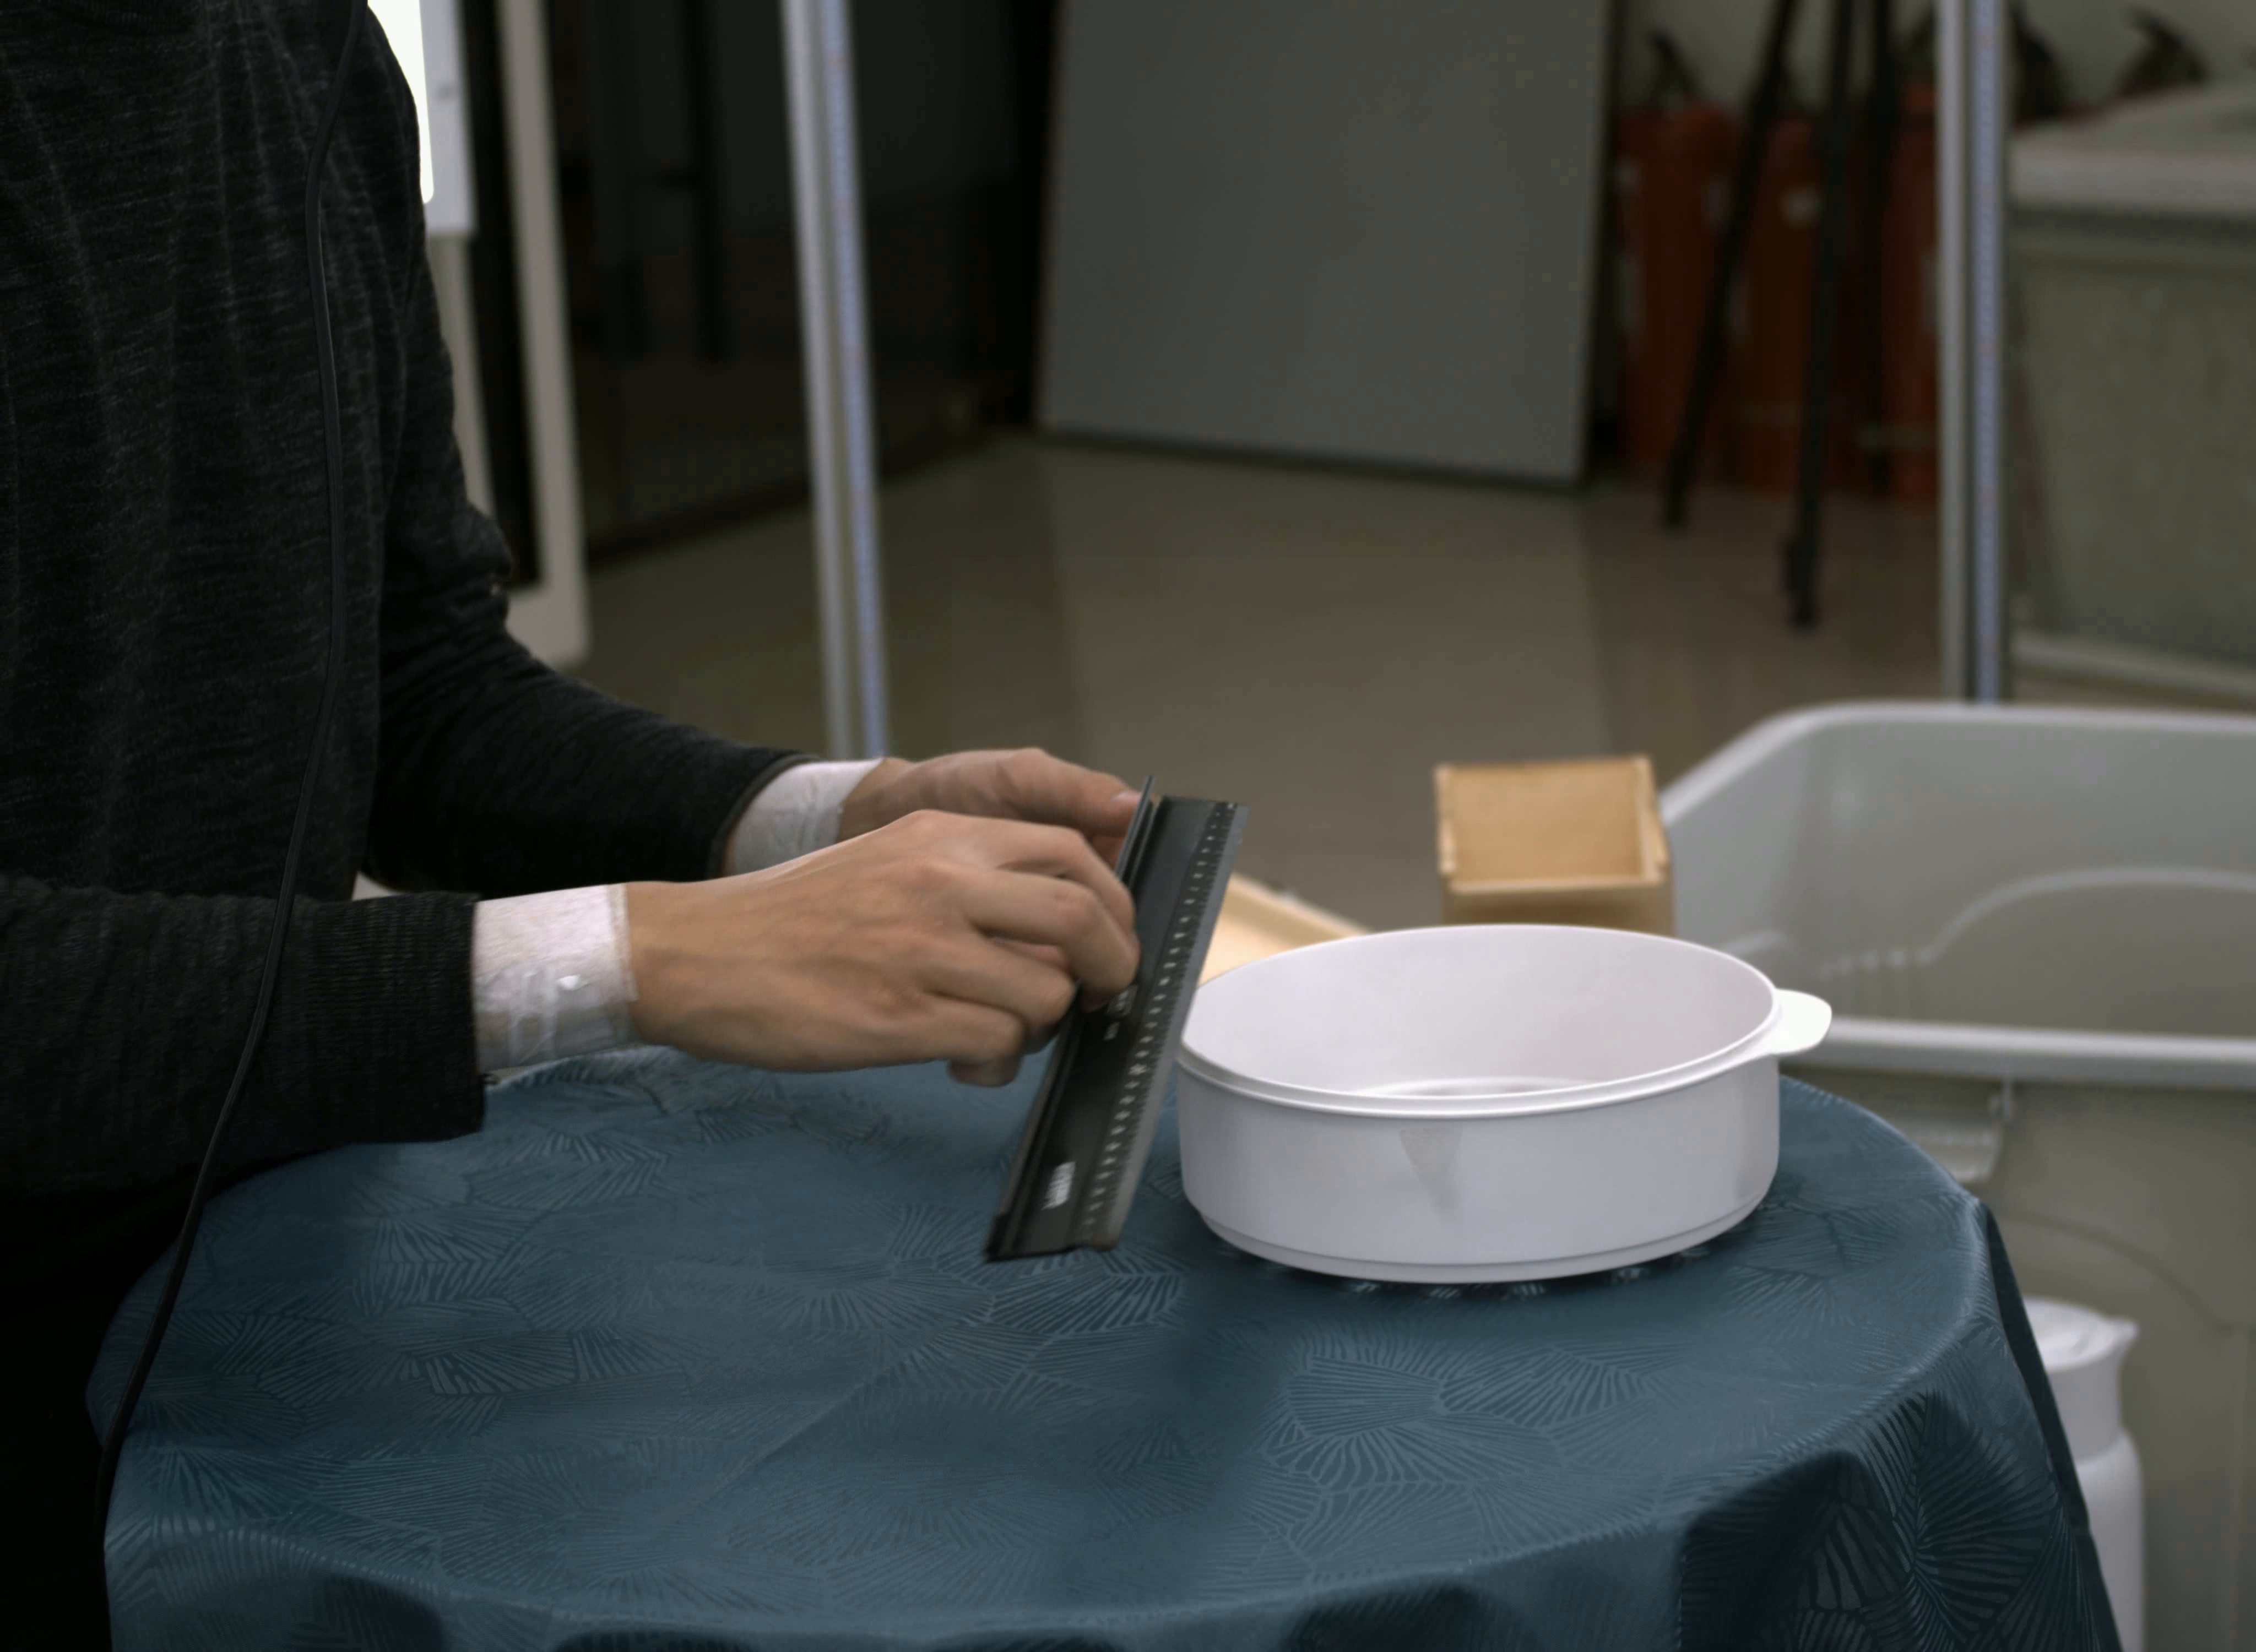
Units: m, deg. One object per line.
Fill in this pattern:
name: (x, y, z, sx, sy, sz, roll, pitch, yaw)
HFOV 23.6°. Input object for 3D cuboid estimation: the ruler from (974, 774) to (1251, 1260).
ruler: (-0.002, 0.049, 1.607, 0.039, 0.017, 0.312, -5, 22, 12)

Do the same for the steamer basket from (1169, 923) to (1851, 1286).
steamer basket: (0.117, 0.088, 1.723, 0.229, 0.070, 0.200, 1, 14, 13)
